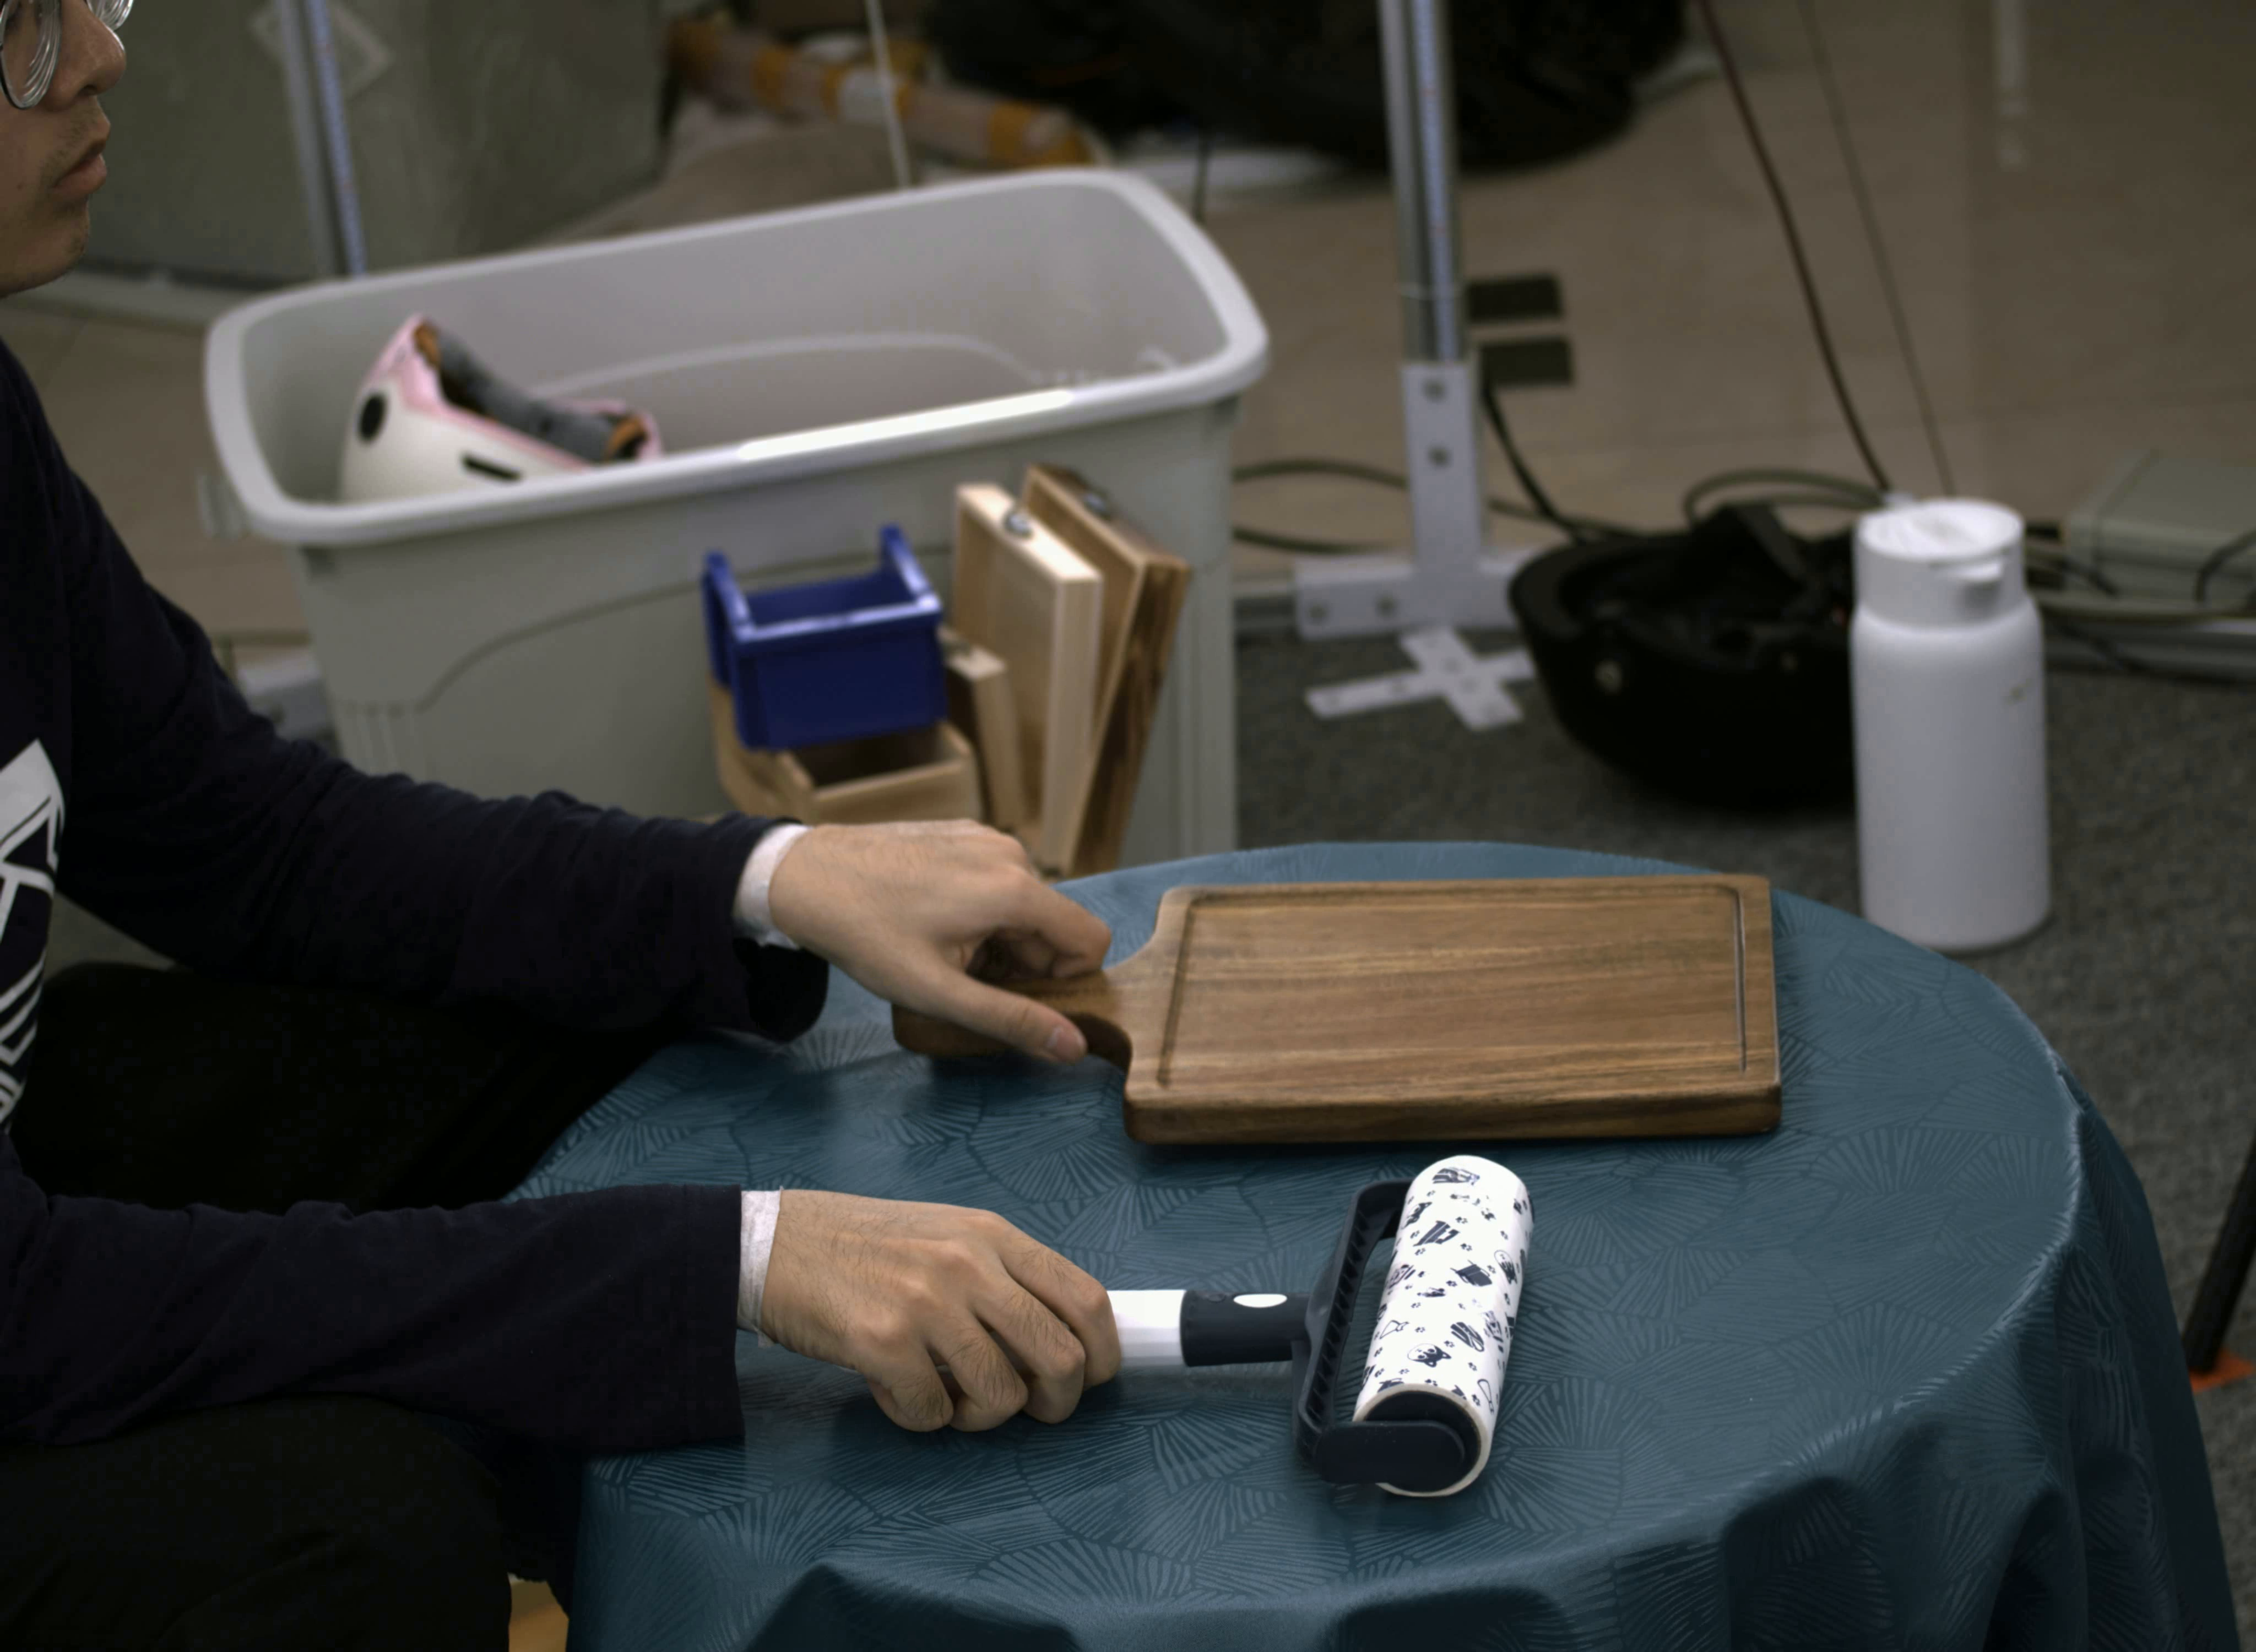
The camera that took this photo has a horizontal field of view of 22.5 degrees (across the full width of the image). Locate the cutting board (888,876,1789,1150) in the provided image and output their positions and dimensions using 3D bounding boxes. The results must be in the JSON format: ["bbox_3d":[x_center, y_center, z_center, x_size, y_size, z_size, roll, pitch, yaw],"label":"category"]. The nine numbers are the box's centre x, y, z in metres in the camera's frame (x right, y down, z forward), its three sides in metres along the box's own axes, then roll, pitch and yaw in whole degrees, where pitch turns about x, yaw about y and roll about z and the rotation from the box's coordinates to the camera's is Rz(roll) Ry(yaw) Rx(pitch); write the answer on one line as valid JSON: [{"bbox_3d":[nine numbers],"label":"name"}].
[{"bbox_3d":[0.080,0.073,2.235,0.351,0.023,0.198,-2,24,5],"label":"cutting board"}]

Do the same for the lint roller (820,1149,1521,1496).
[{"bbox_3d":[0.010,0.178,2.010,0.246,0.051,0.173,-2,26,10],"label":"lint roller"}]
